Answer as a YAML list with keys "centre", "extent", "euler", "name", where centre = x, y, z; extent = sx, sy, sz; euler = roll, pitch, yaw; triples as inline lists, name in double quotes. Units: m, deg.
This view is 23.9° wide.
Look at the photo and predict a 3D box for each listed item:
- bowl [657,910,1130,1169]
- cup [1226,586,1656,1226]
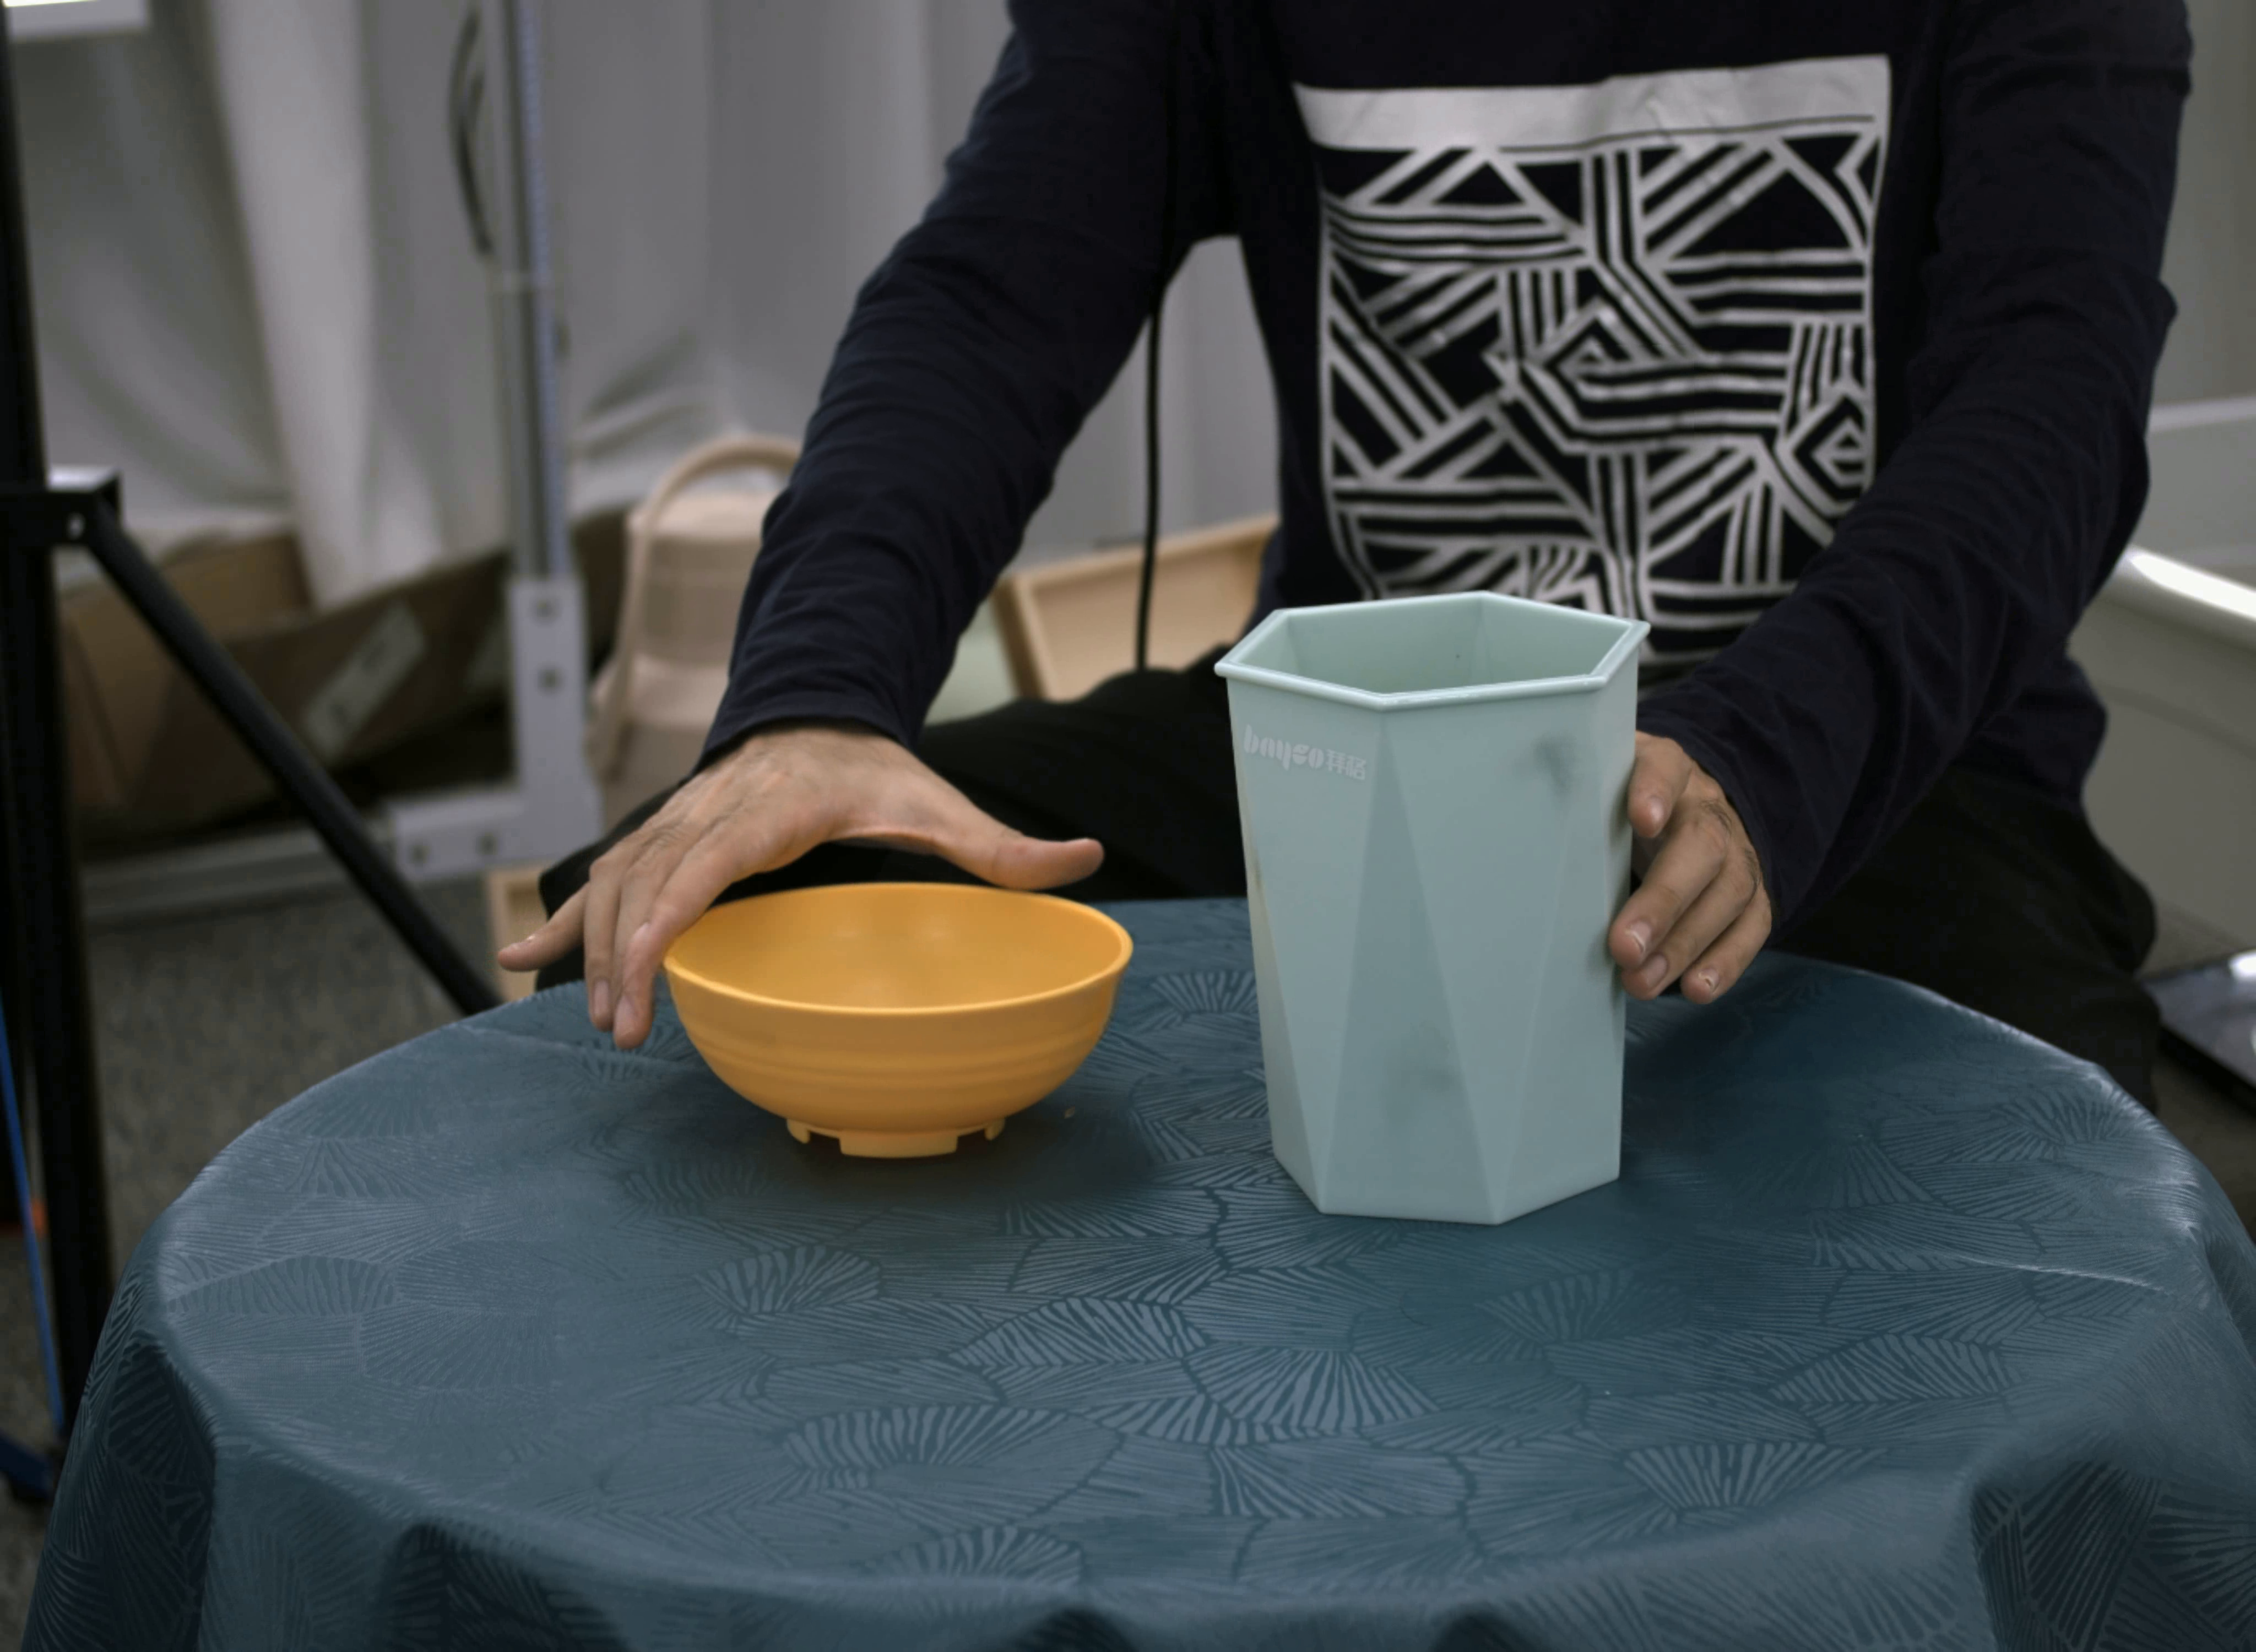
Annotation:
- centre: [-0.072, 0.068, 1.621]
  extent: [0.144, 0.060, 0.146]
  euler: [2, 9, -2]
  name: "bowl"
- centre: [0.090, 0.024, 1.547]
  extent: [0.134, 0.163, 0.112]
  euler: [14, 20, 42]
  name: "cup"
